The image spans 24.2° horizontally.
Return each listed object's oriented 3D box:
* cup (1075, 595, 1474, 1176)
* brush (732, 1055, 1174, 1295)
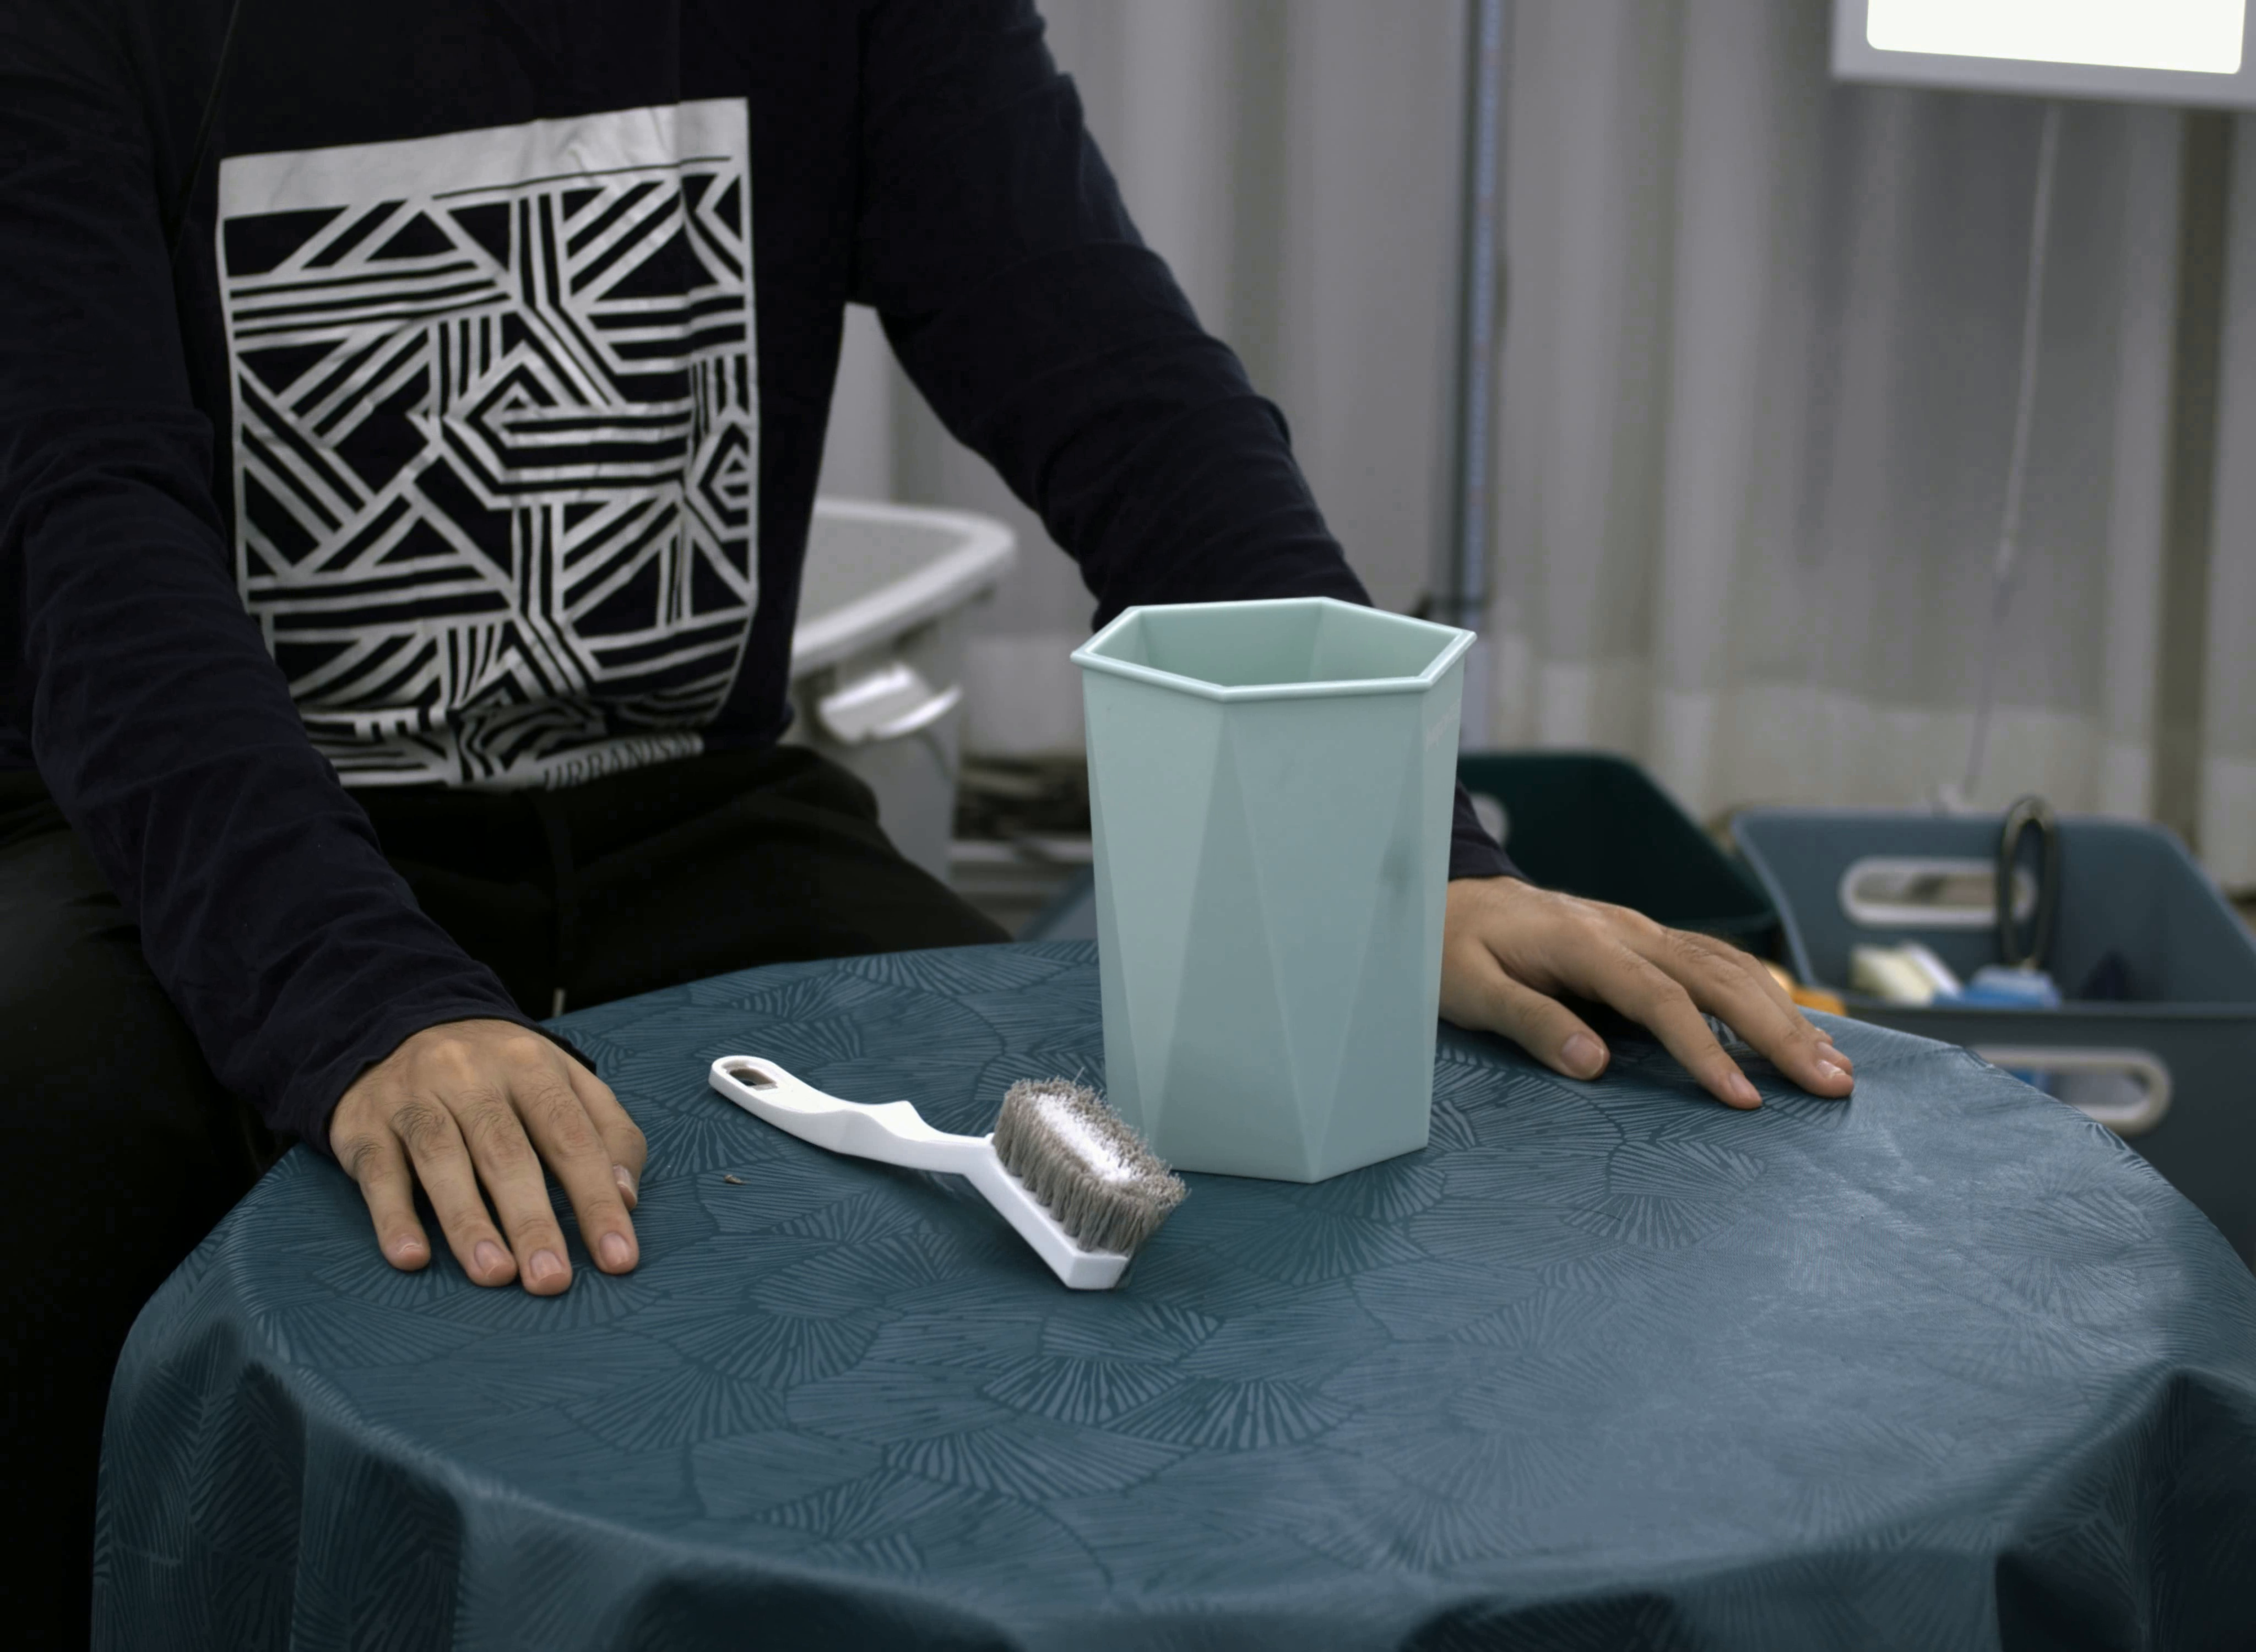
[{"bbox_3d":[0.047,0.018,1.659,0.114,0.164,0.131,3,16,13],"label":"cup"},{"bbox_3d":[-0.060,0.087,1.623,0.034,0.050,0.240,-10,19,-30],"label":"brush"}]
